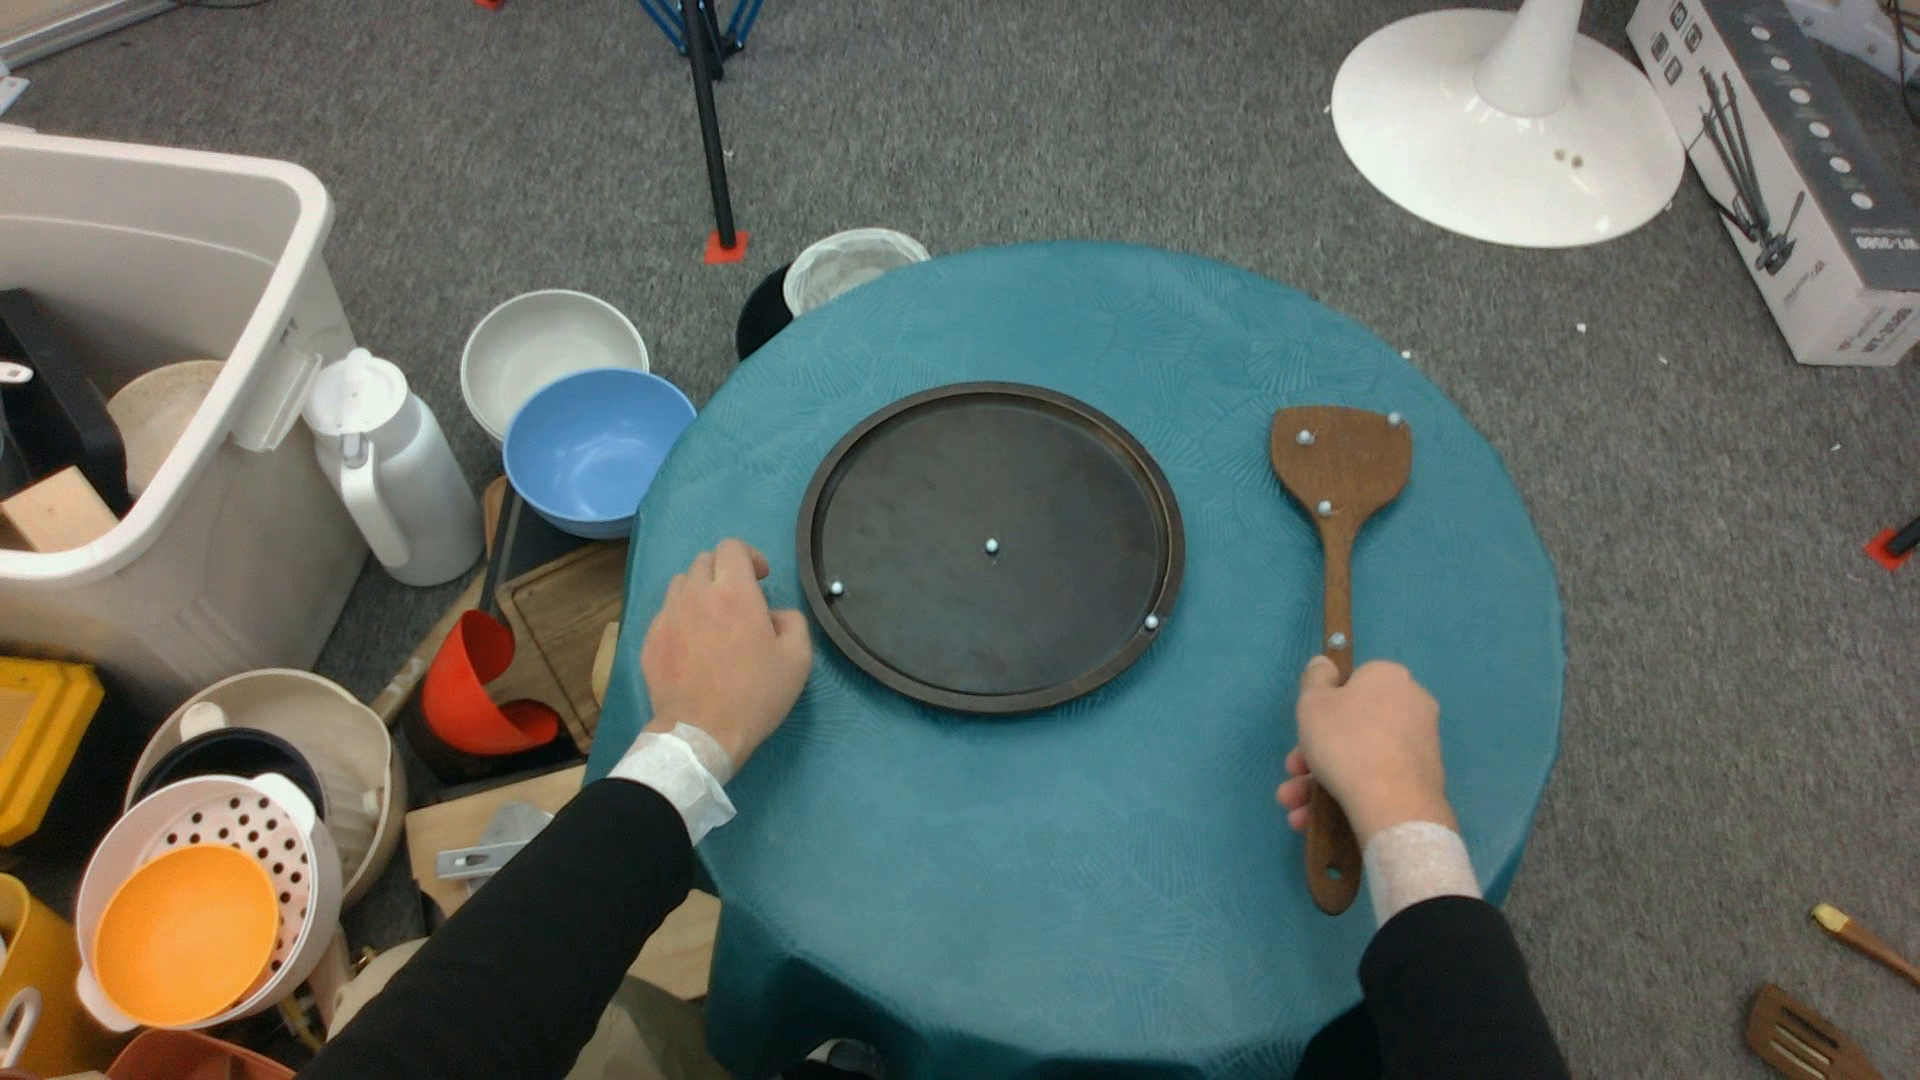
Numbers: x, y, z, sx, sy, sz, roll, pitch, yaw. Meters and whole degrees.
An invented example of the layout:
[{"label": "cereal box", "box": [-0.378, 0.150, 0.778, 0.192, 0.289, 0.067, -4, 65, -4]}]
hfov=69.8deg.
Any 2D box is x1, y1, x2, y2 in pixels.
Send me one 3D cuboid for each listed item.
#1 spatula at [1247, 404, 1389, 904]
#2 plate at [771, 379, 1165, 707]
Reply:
[{"label": "spatula", "box": [0.219, 0.046, 0.842, 0.096, 0.016, 0.388, 7, 47, 7]}, {"label": "plate", "box": [0.005, -0.004, 0.891, 0.255, 0.029, 0.256, 2, 56, -3]}]
